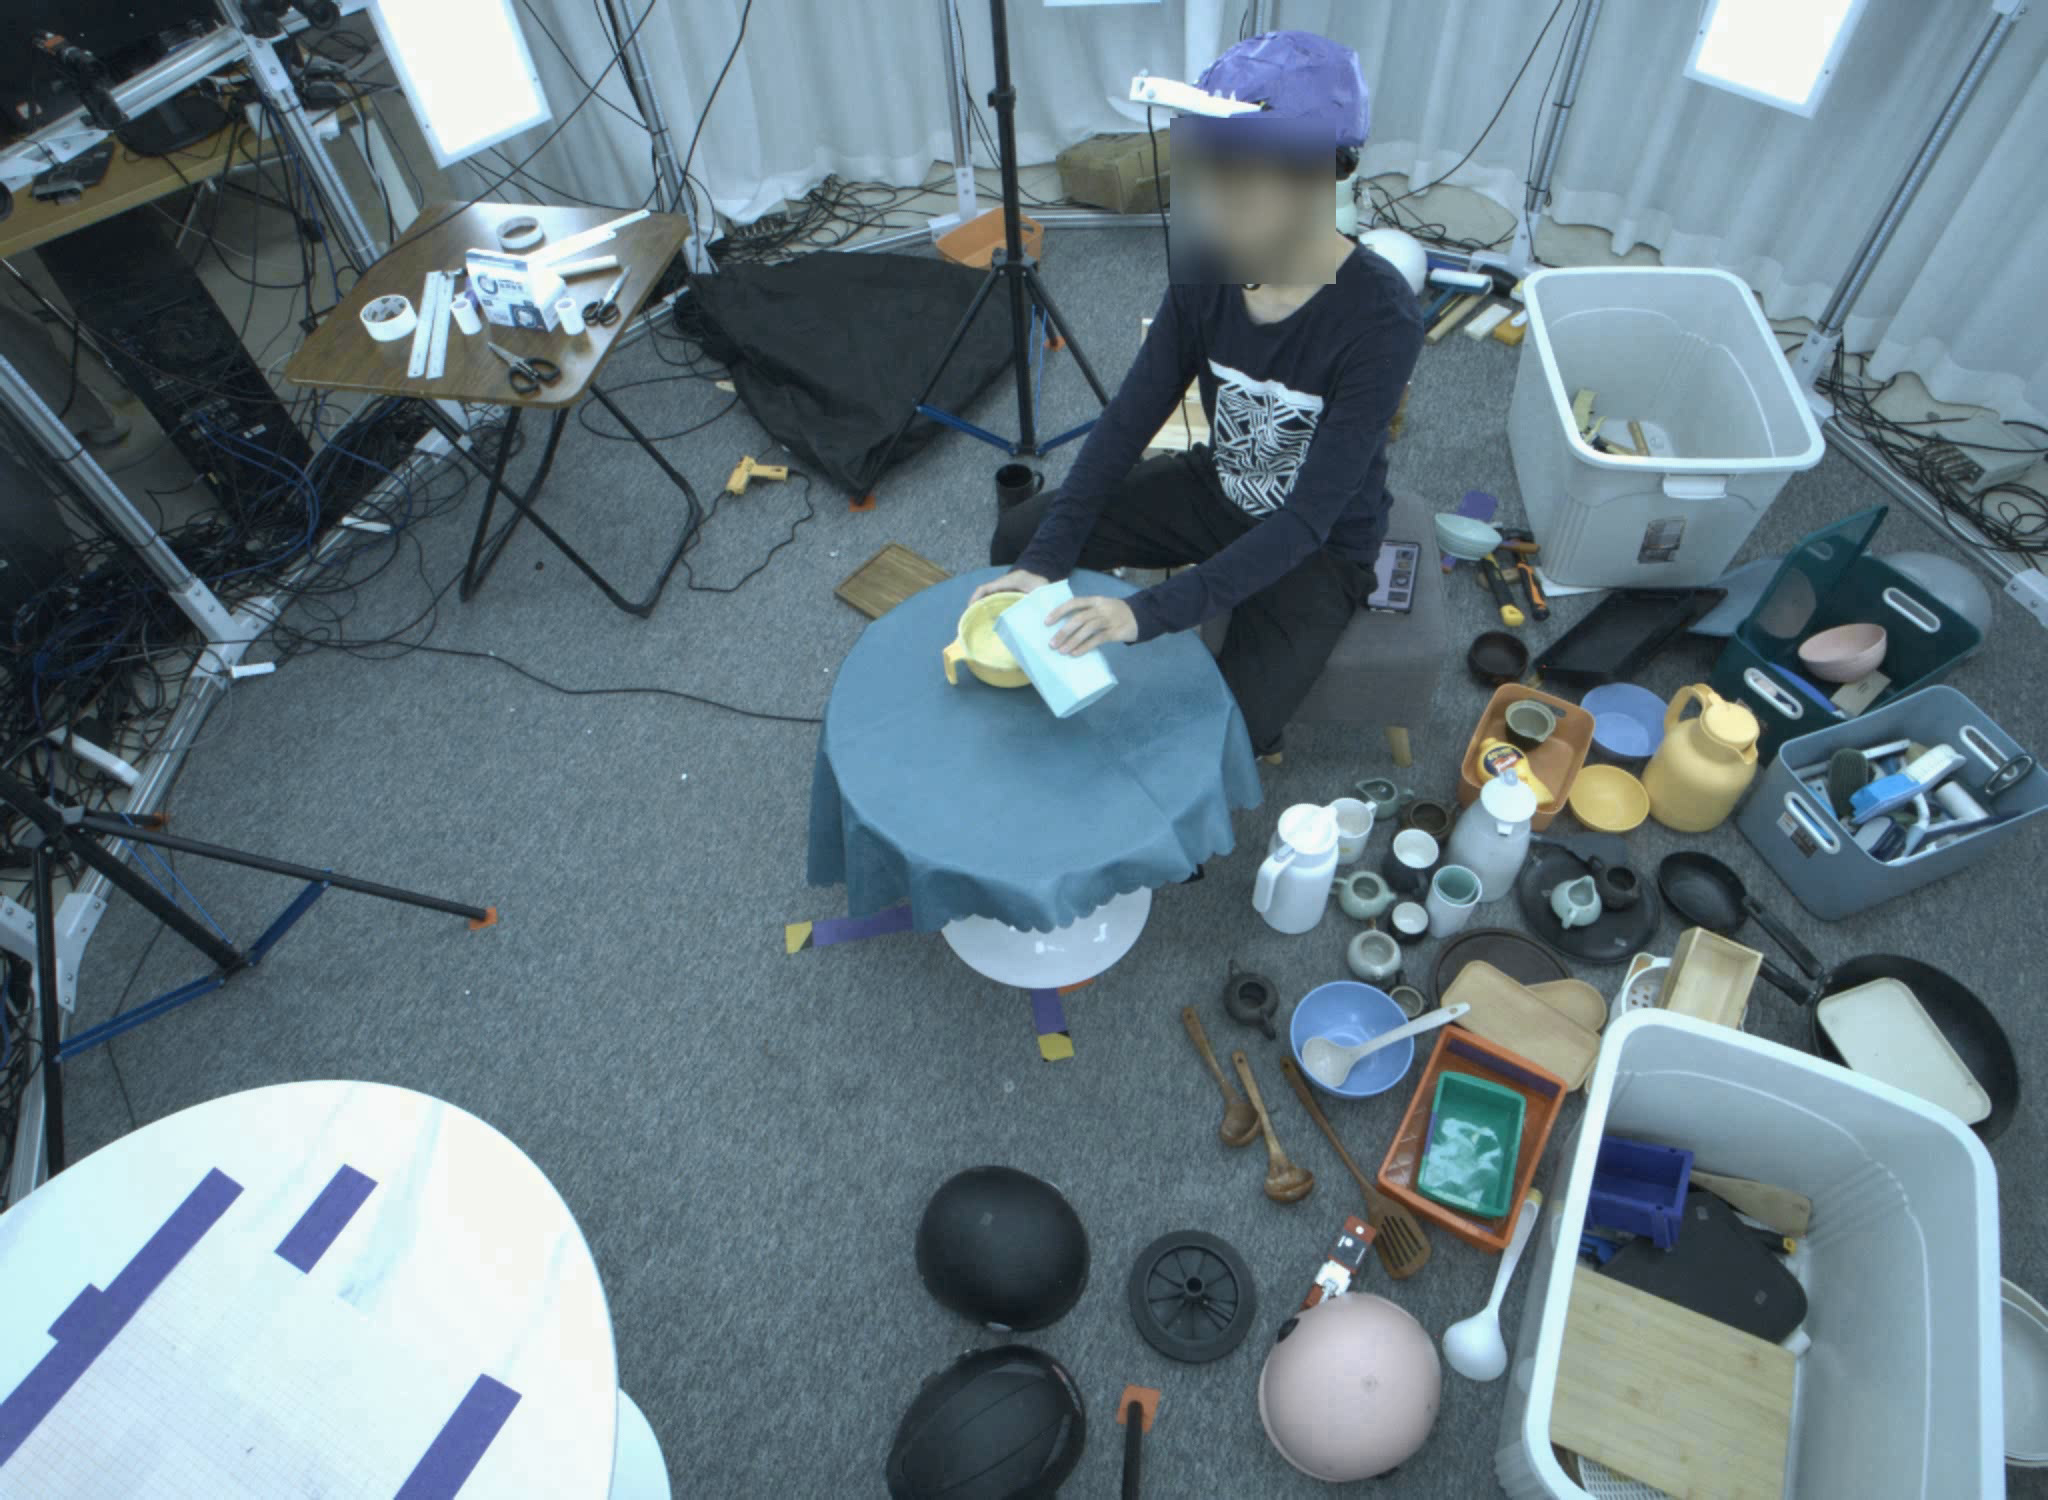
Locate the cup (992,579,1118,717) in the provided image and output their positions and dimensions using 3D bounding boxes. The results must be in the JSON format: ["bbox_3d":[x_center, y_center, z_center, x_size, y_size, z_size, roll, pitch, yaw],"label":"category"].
[{"bbox_3d":[0.048,-0.138,1.719,0.116,0.130,0.162,-28,85,-19],"label":"cup"}]

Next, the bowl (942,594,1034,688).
[{"bbox_3d":[-0.036,-0.156,1.852,0.181,0.075,0.150,-25,57,-17],"label":"bowl"}]
